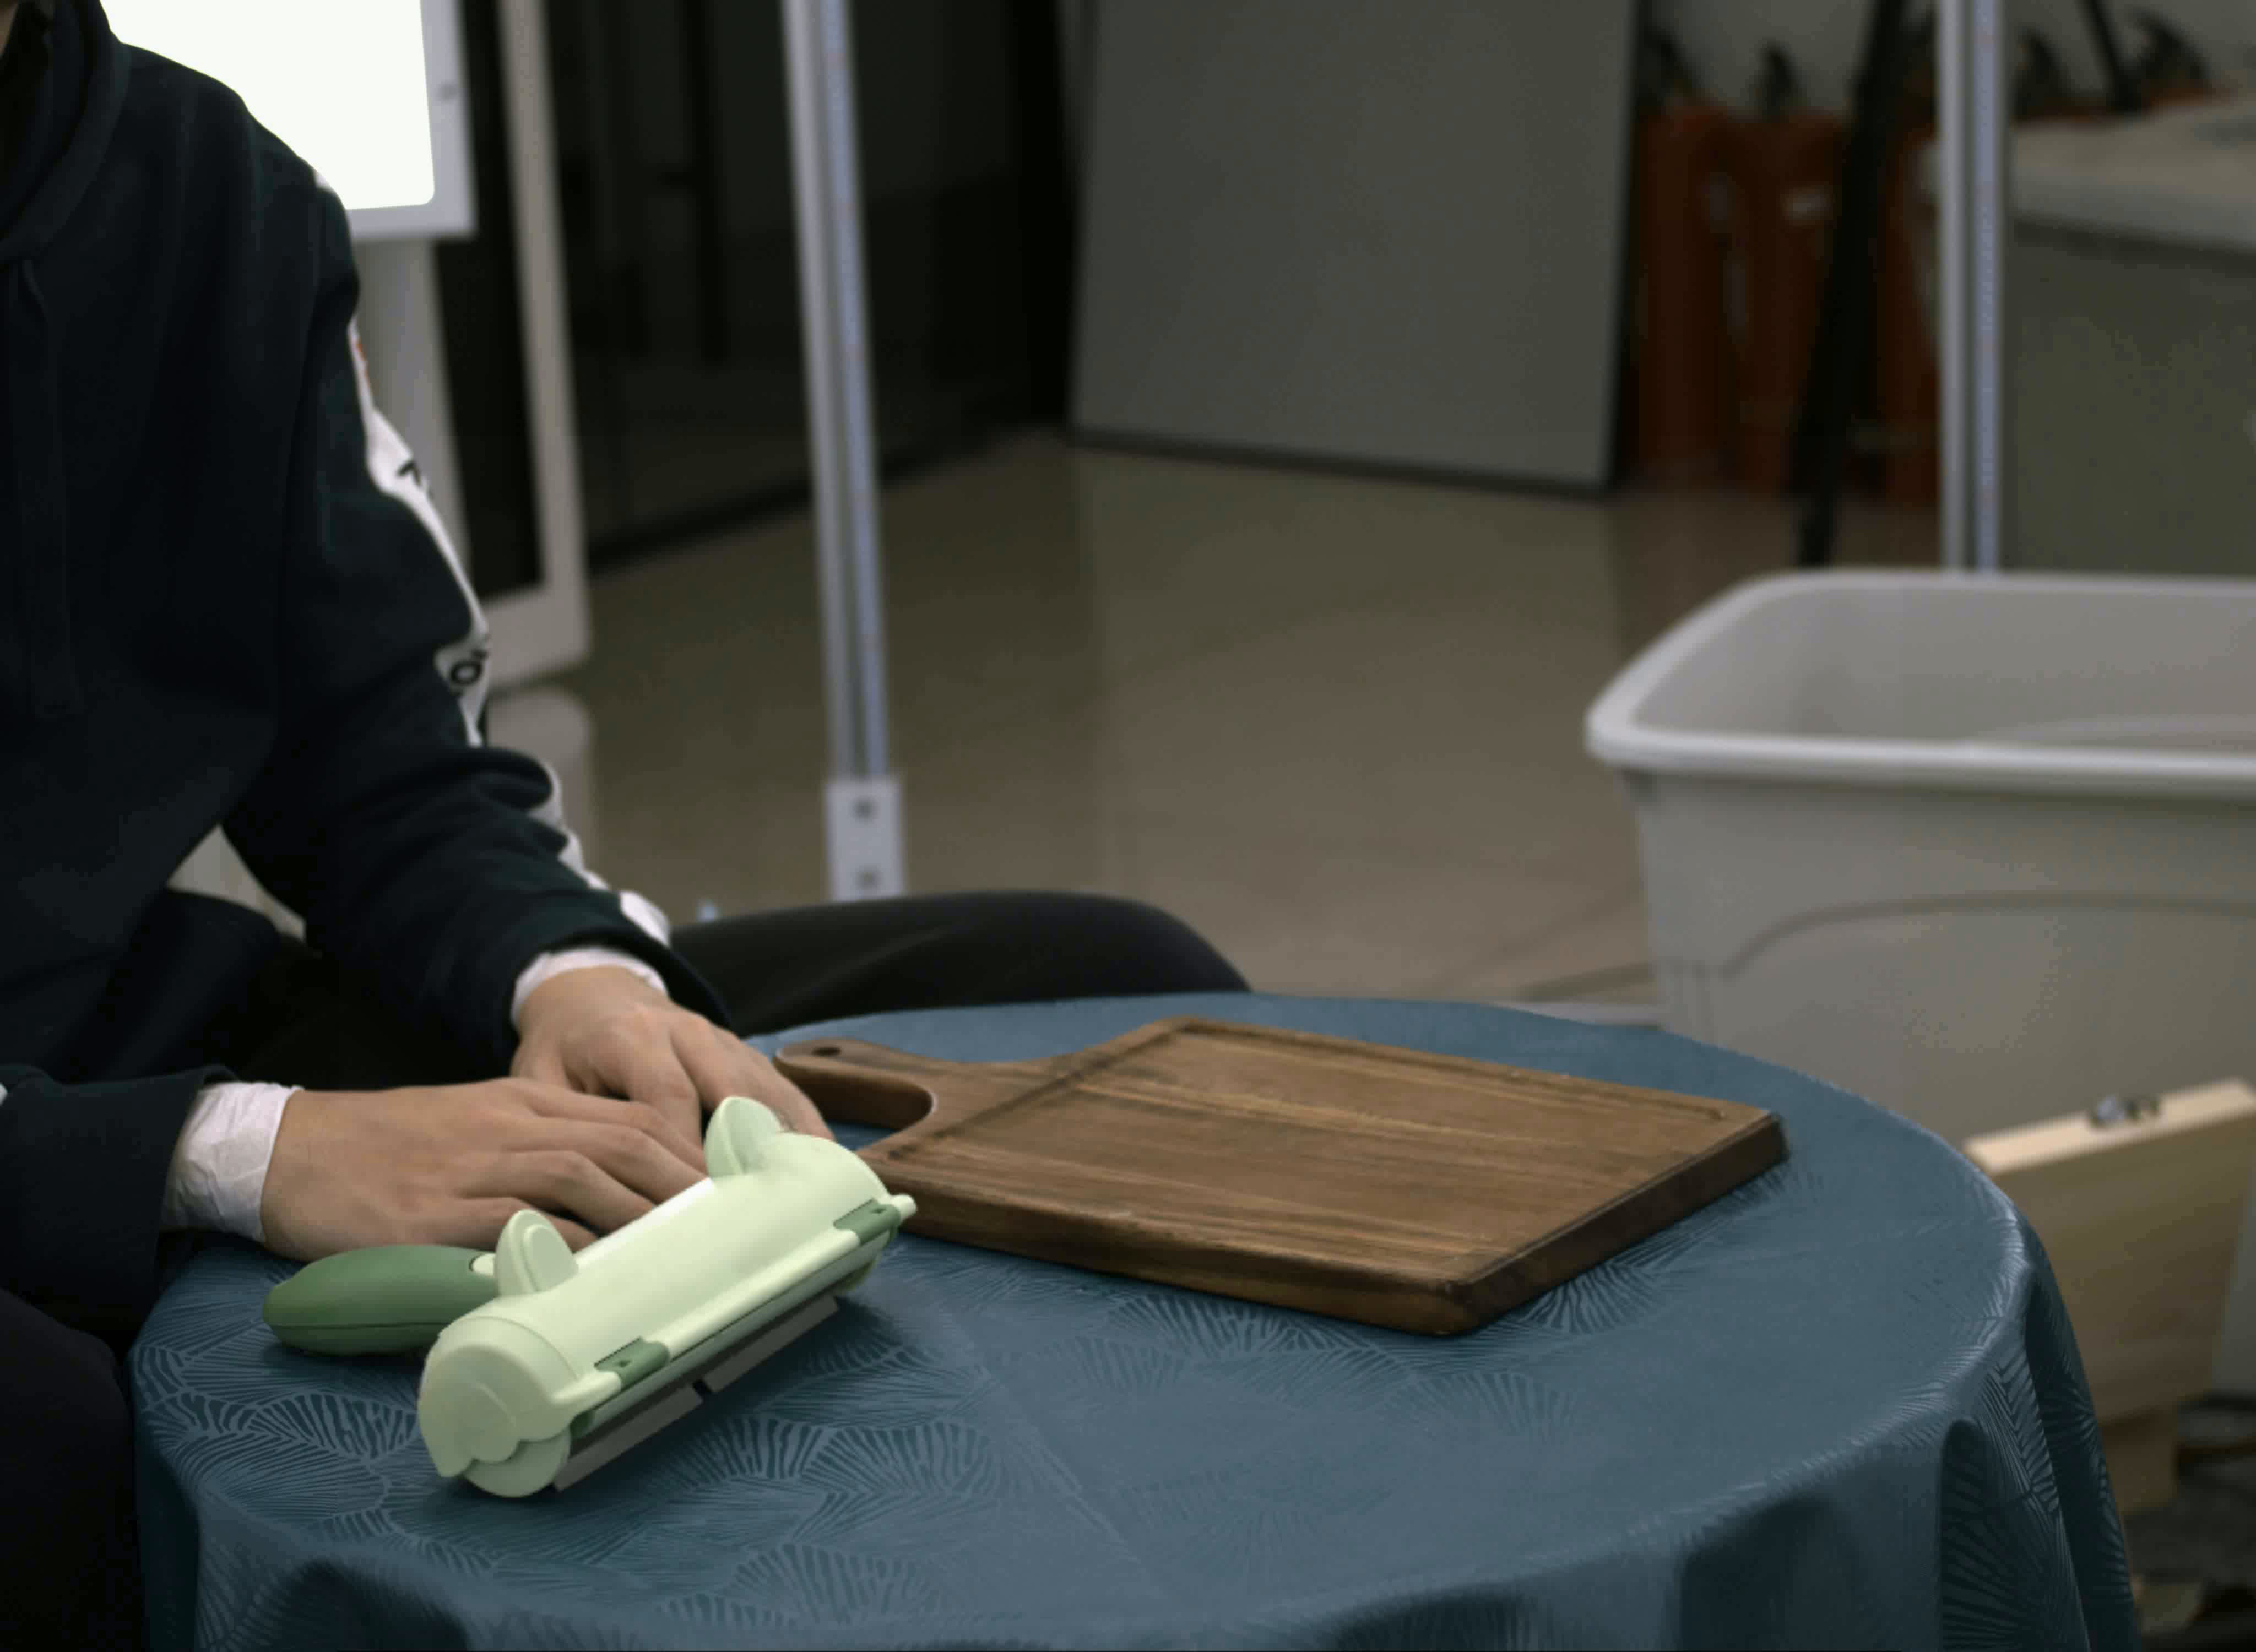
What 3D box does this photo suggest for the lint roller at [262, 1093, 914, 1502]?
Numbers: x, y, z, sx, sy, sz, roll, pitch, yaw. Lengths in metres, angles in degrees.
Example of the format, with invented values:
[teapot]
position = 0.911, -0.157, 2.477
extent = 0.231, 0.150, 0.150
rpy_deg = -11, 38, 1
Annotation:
[lint roller]
position = -0.186, 0.130, 1.630
extent = 0.184, 0.083, 0.196
rpy_deg = 8, 18, 27

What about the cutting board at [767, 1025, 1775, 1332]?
[cutting board]
position = 0.019, 0.106, 1.784
extent = 0.354, 0.023, 0.197
rpy_deg = 6, 17, 38
